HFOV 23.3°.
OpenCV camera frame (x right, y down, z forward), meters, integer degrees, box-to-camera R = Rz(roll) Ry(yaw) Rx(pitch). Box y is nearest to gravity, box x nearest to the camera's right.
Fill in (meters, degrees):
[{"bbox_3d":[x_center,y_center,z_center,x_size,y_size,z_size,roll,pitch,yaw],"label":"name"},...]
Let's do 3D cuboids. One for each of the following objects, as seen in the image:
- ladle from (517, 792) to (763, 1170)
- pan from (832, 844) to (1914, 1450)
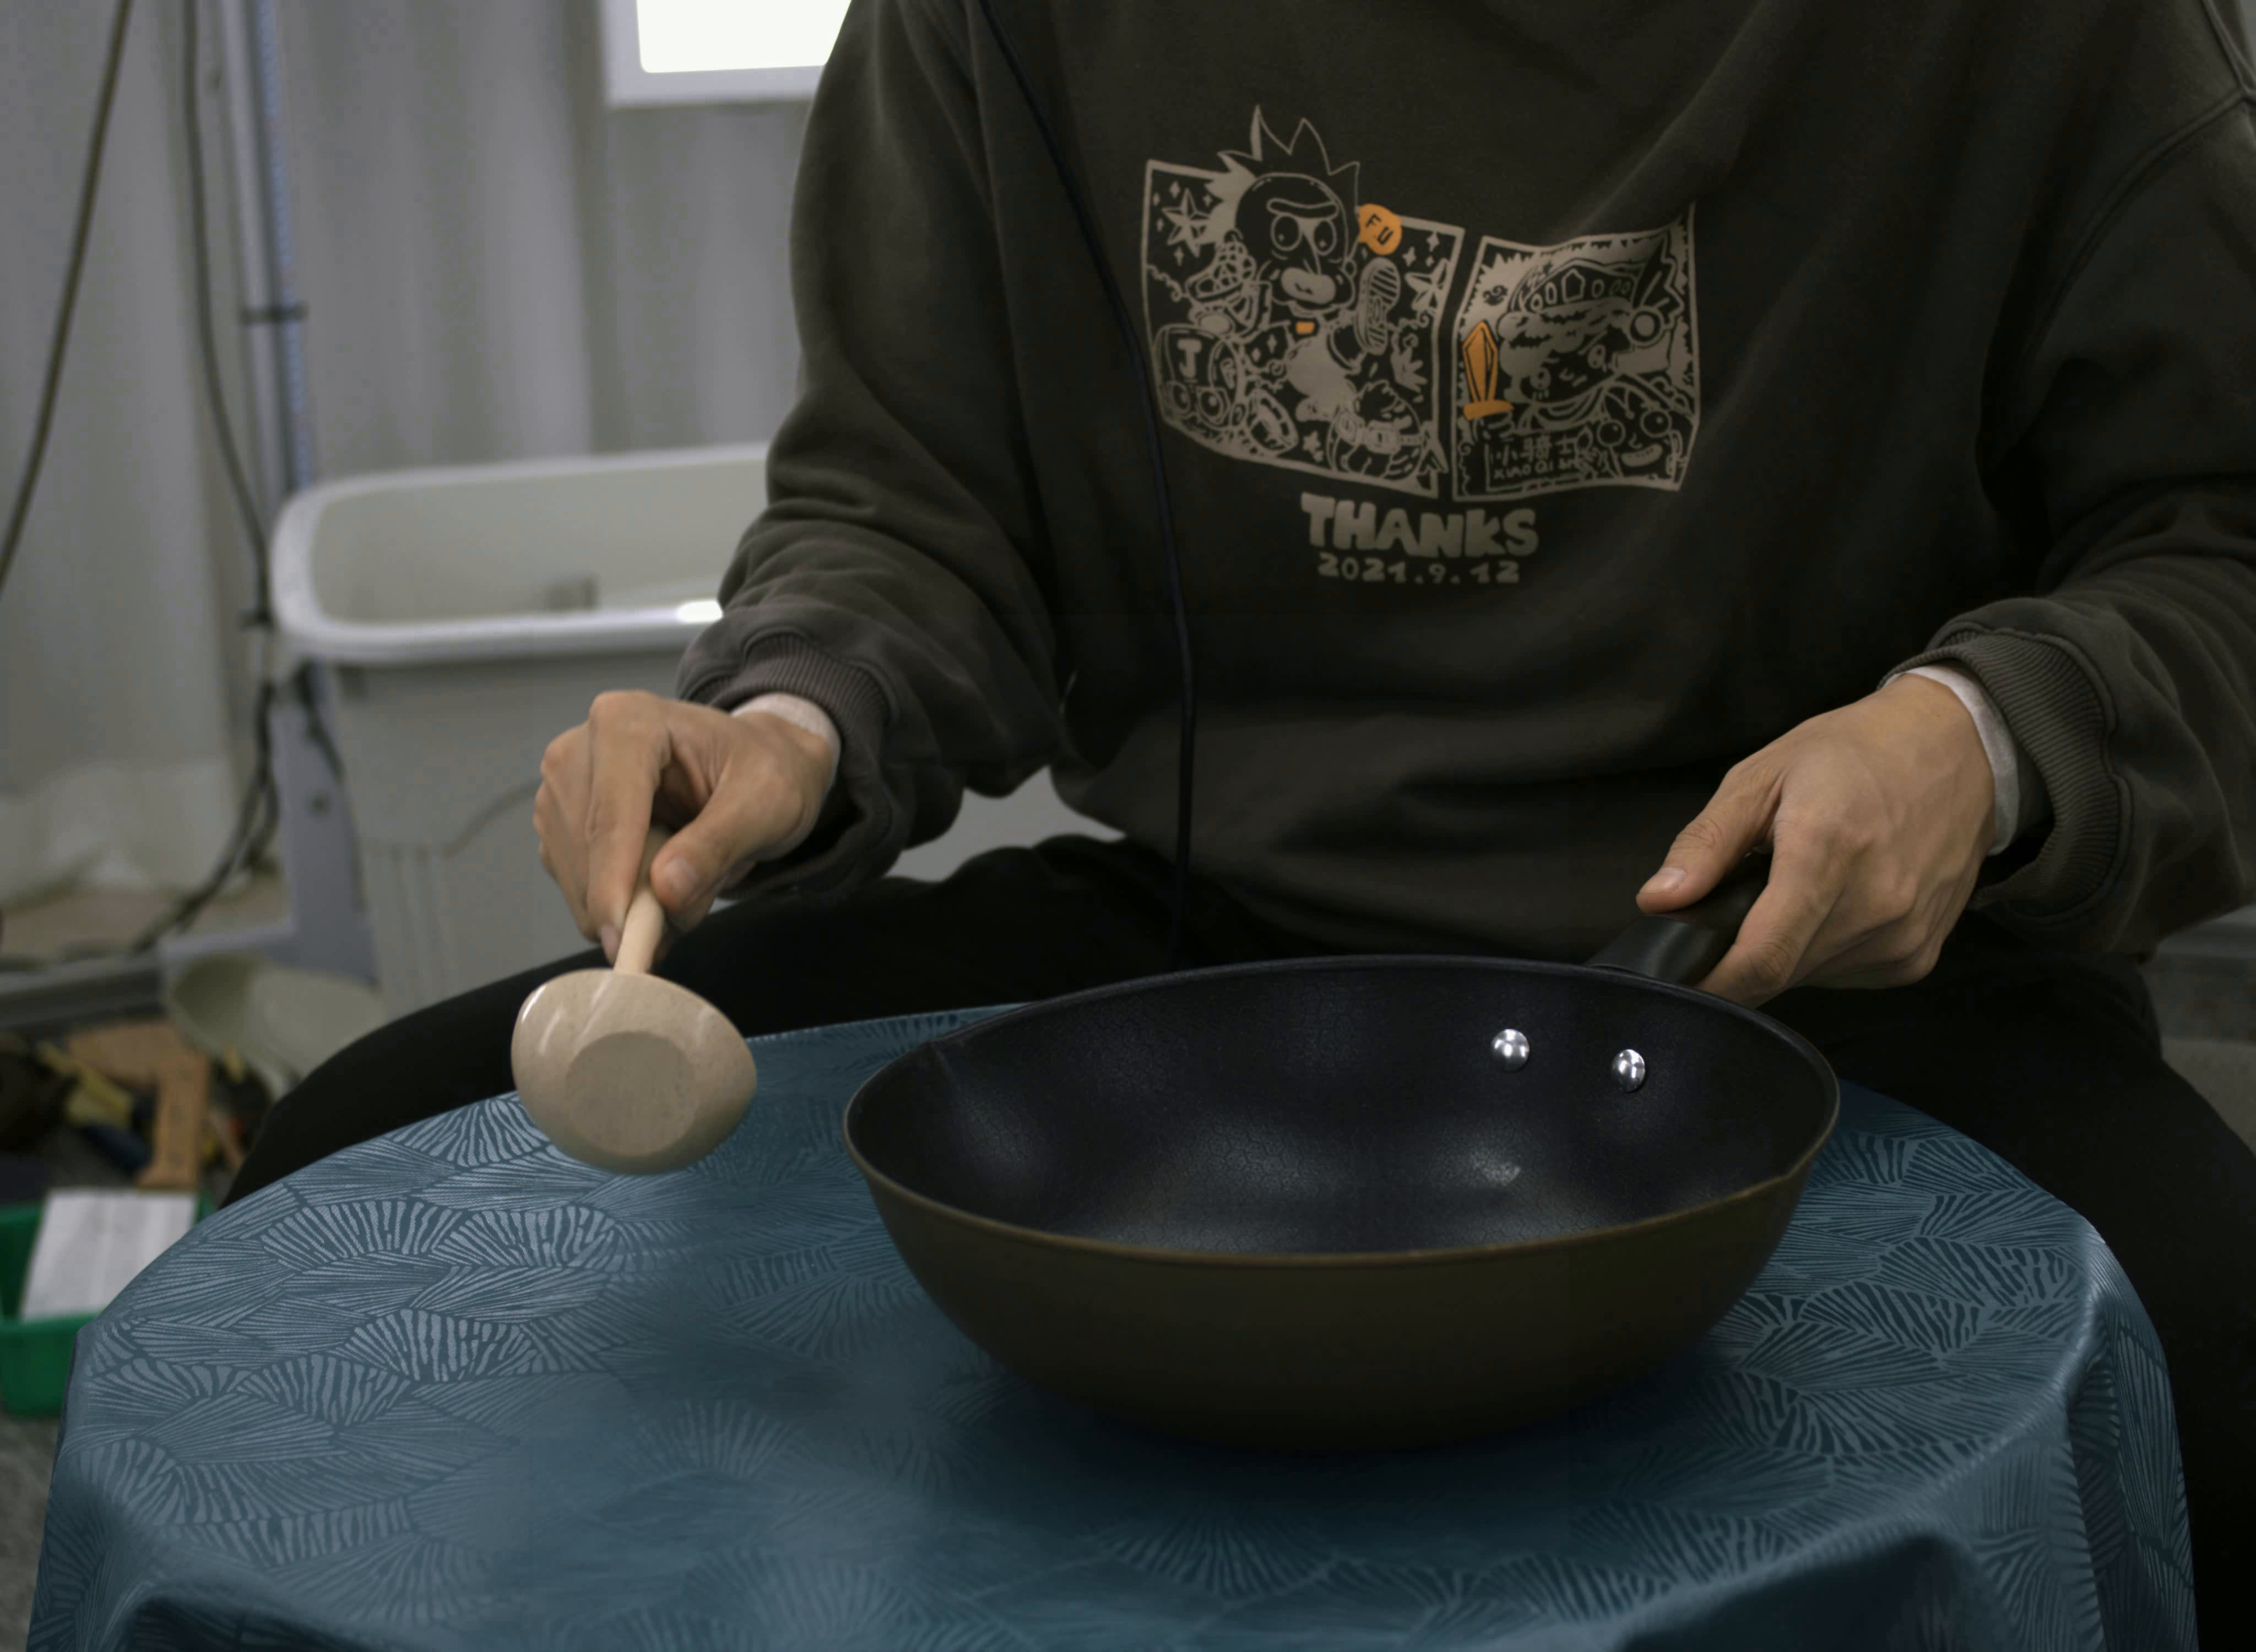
[{"bbox_3d":[-0.143,0.021,1.686,0.071,0.072,0.257,26,24,-13],"label":"ladle"},{"bbox_3d":[0.110,0.092,1.627,0.289,0.086,0.463,7,17,34],"label":"pan"}]
